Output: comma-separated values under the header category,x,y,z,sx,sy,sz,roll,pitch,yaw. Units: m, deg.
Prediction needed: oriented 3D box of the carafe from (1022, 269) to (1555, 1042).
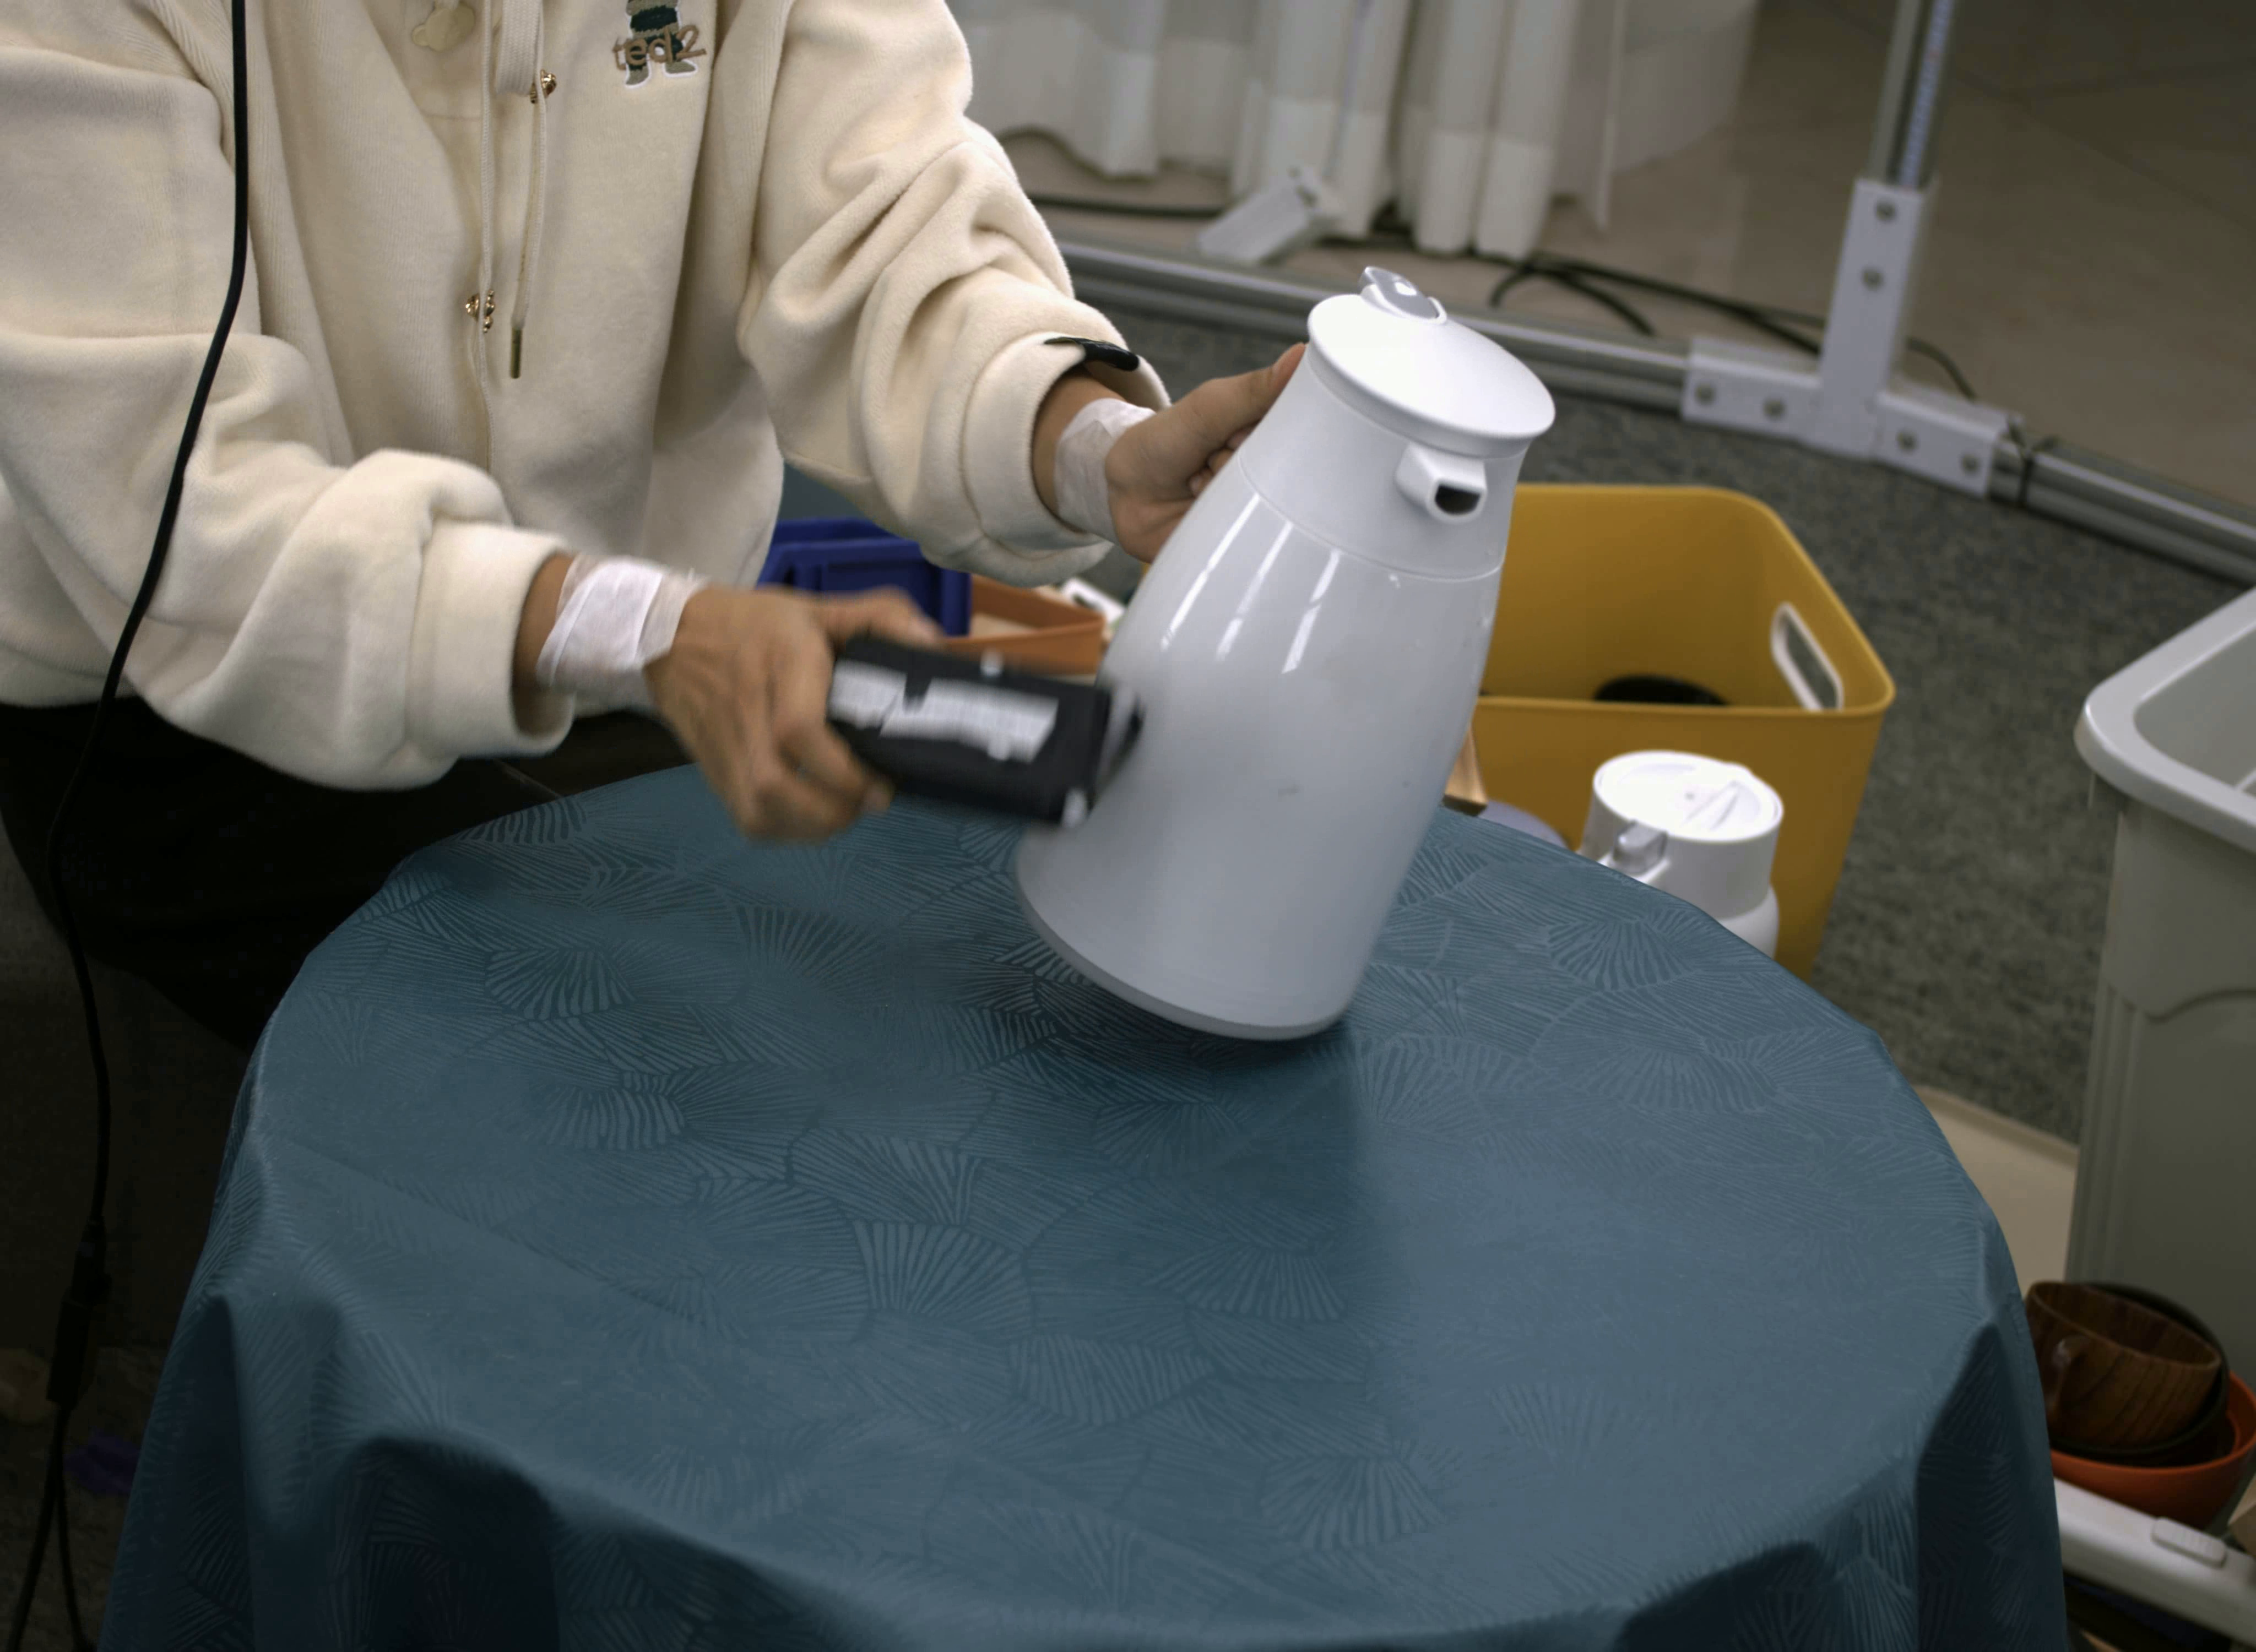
category,x,y,z,sx,sy,sz,roll,pitch,yaw
carafe,0.059,-0.072,1.883,0.131,0.248,0.169,10,29,-21

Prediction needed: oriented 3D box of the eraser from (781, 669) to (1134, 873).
category,x,y,z,sx,sy,sz,roll,pitch,yaw
eraser,-0.058,-0.020,1.815,0.126,0.030,0.053,12,61,42
